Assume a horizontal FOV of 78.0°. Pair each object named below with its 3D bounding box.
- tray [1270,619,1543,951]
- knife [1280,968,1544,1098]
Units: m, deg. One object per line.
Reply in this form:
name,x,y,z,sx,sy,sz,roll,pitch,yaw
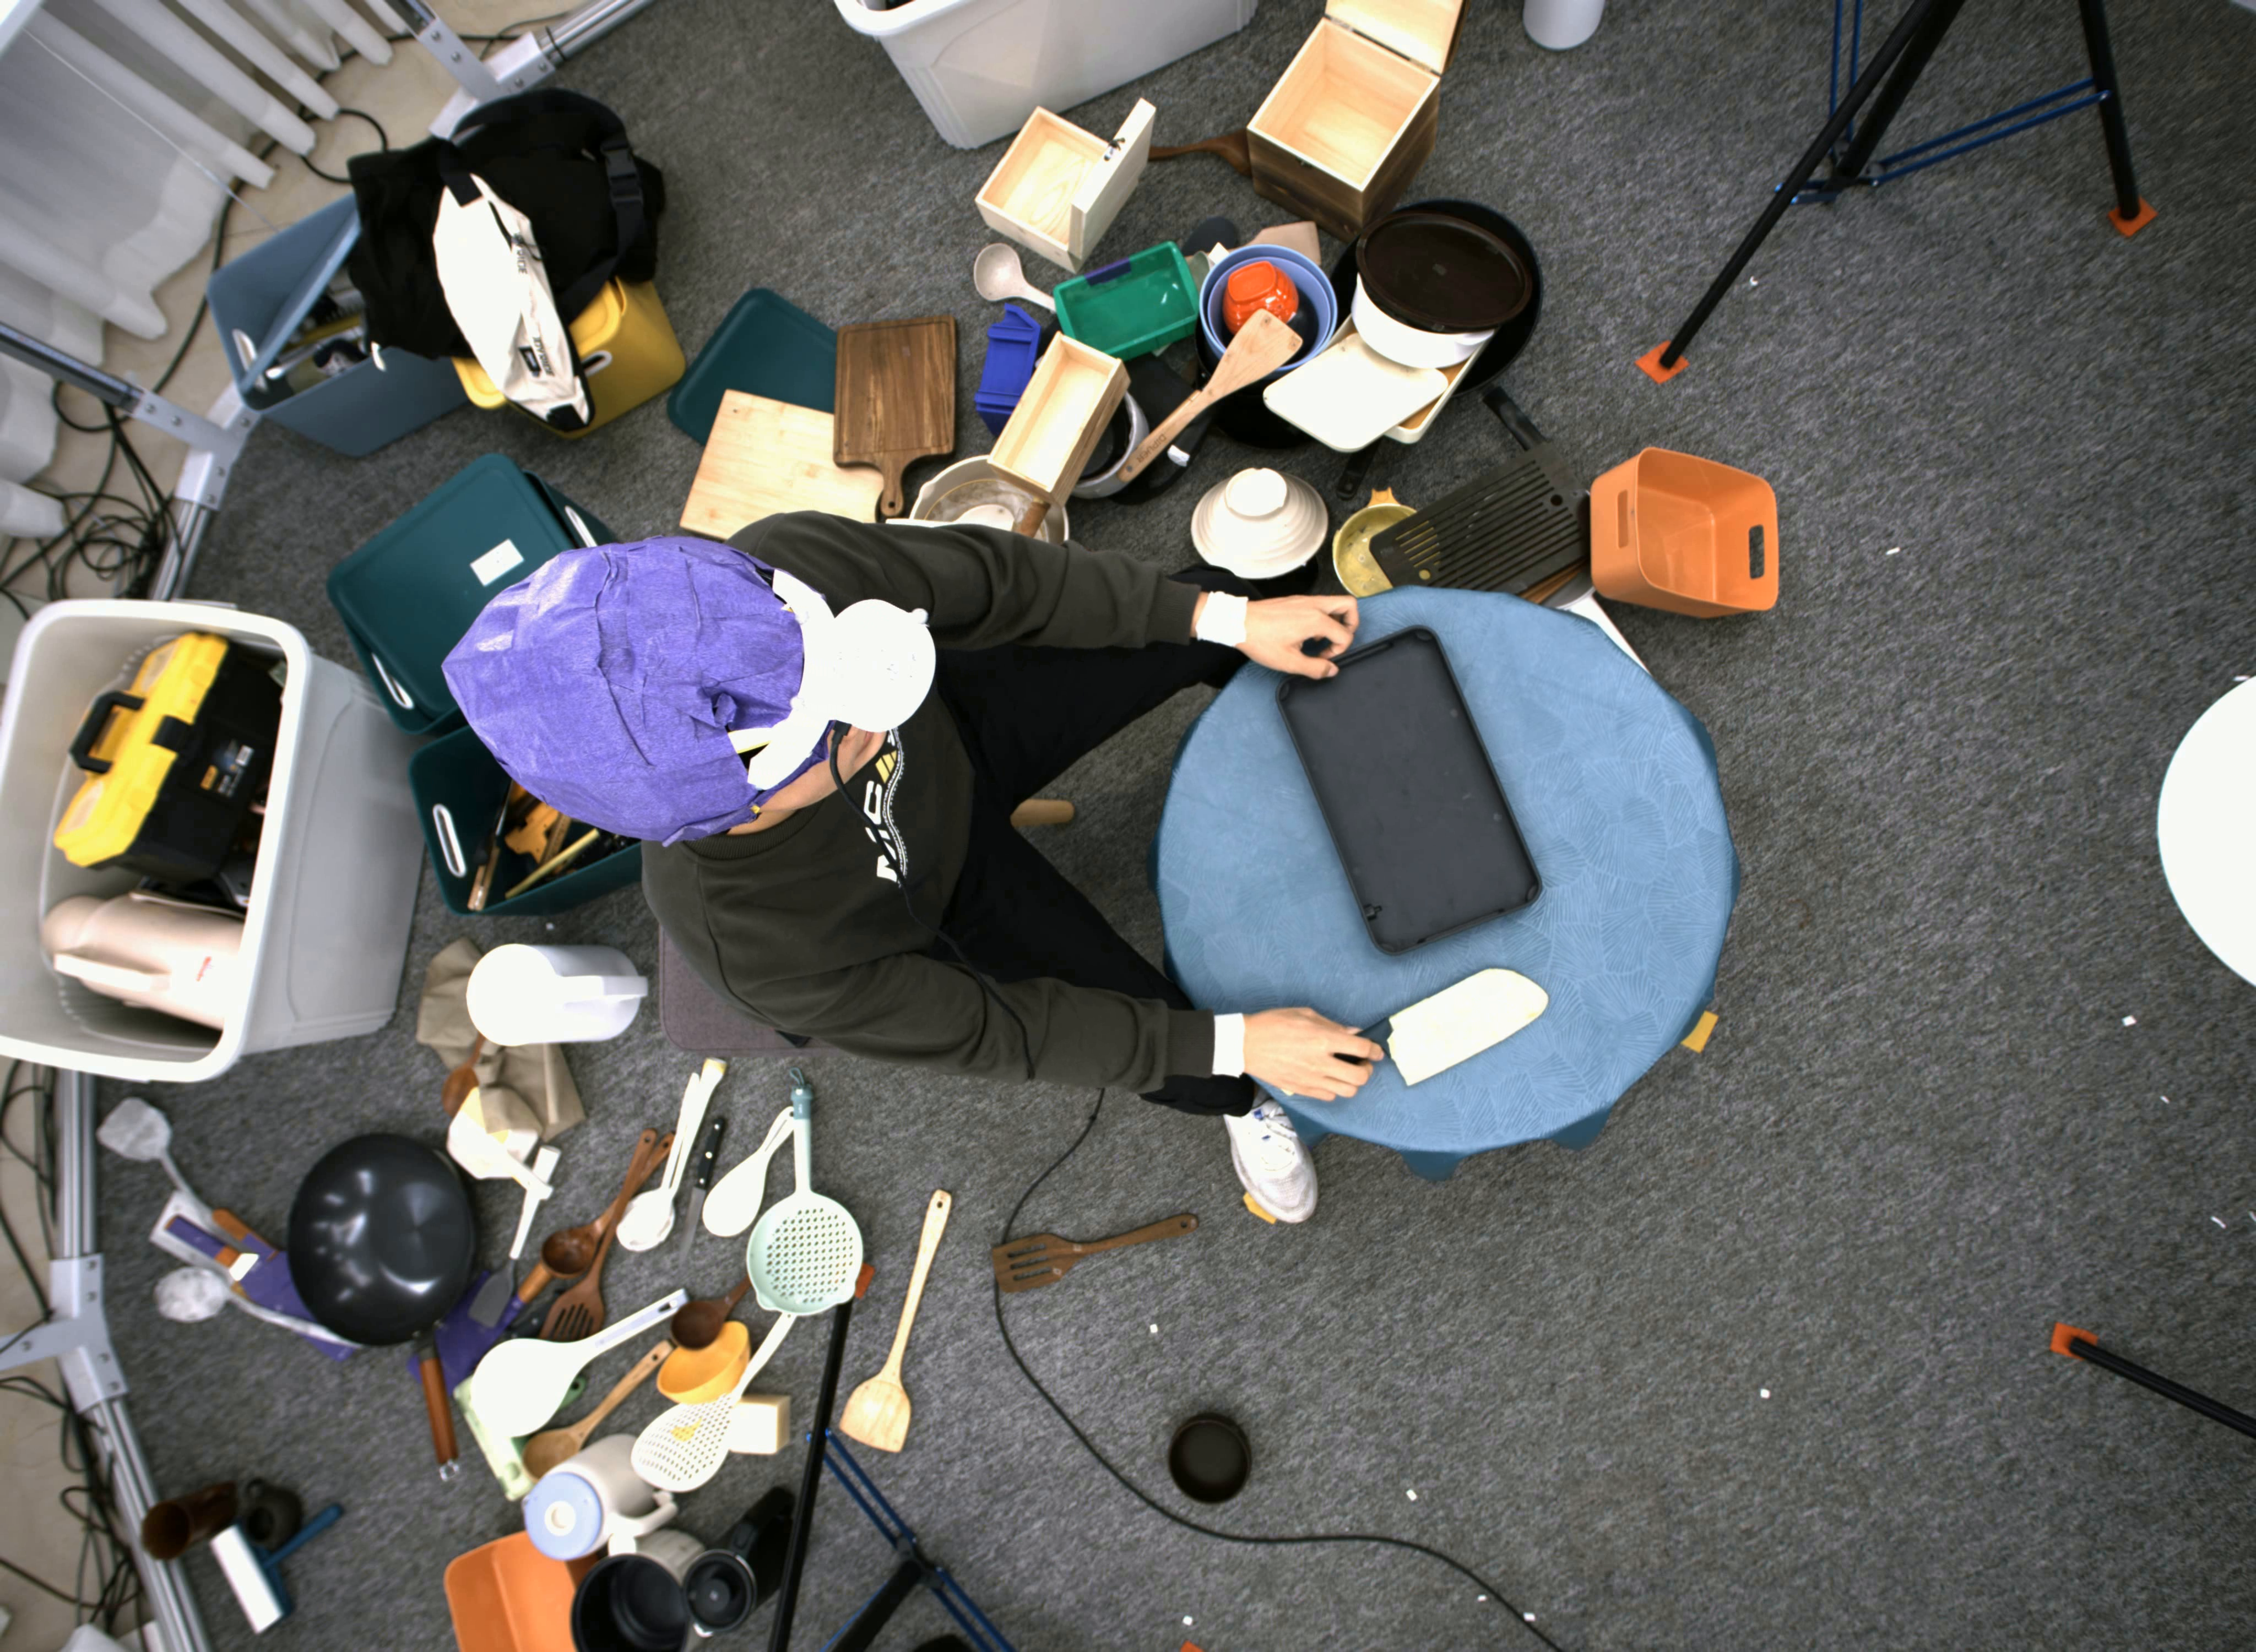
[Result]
tray,0.290,-0.044,1.445,0.185,0.037,0.316,-23,83,9
knife,0.296,0.223,1.431,0.291,0.027,0.081,-25,86,8
